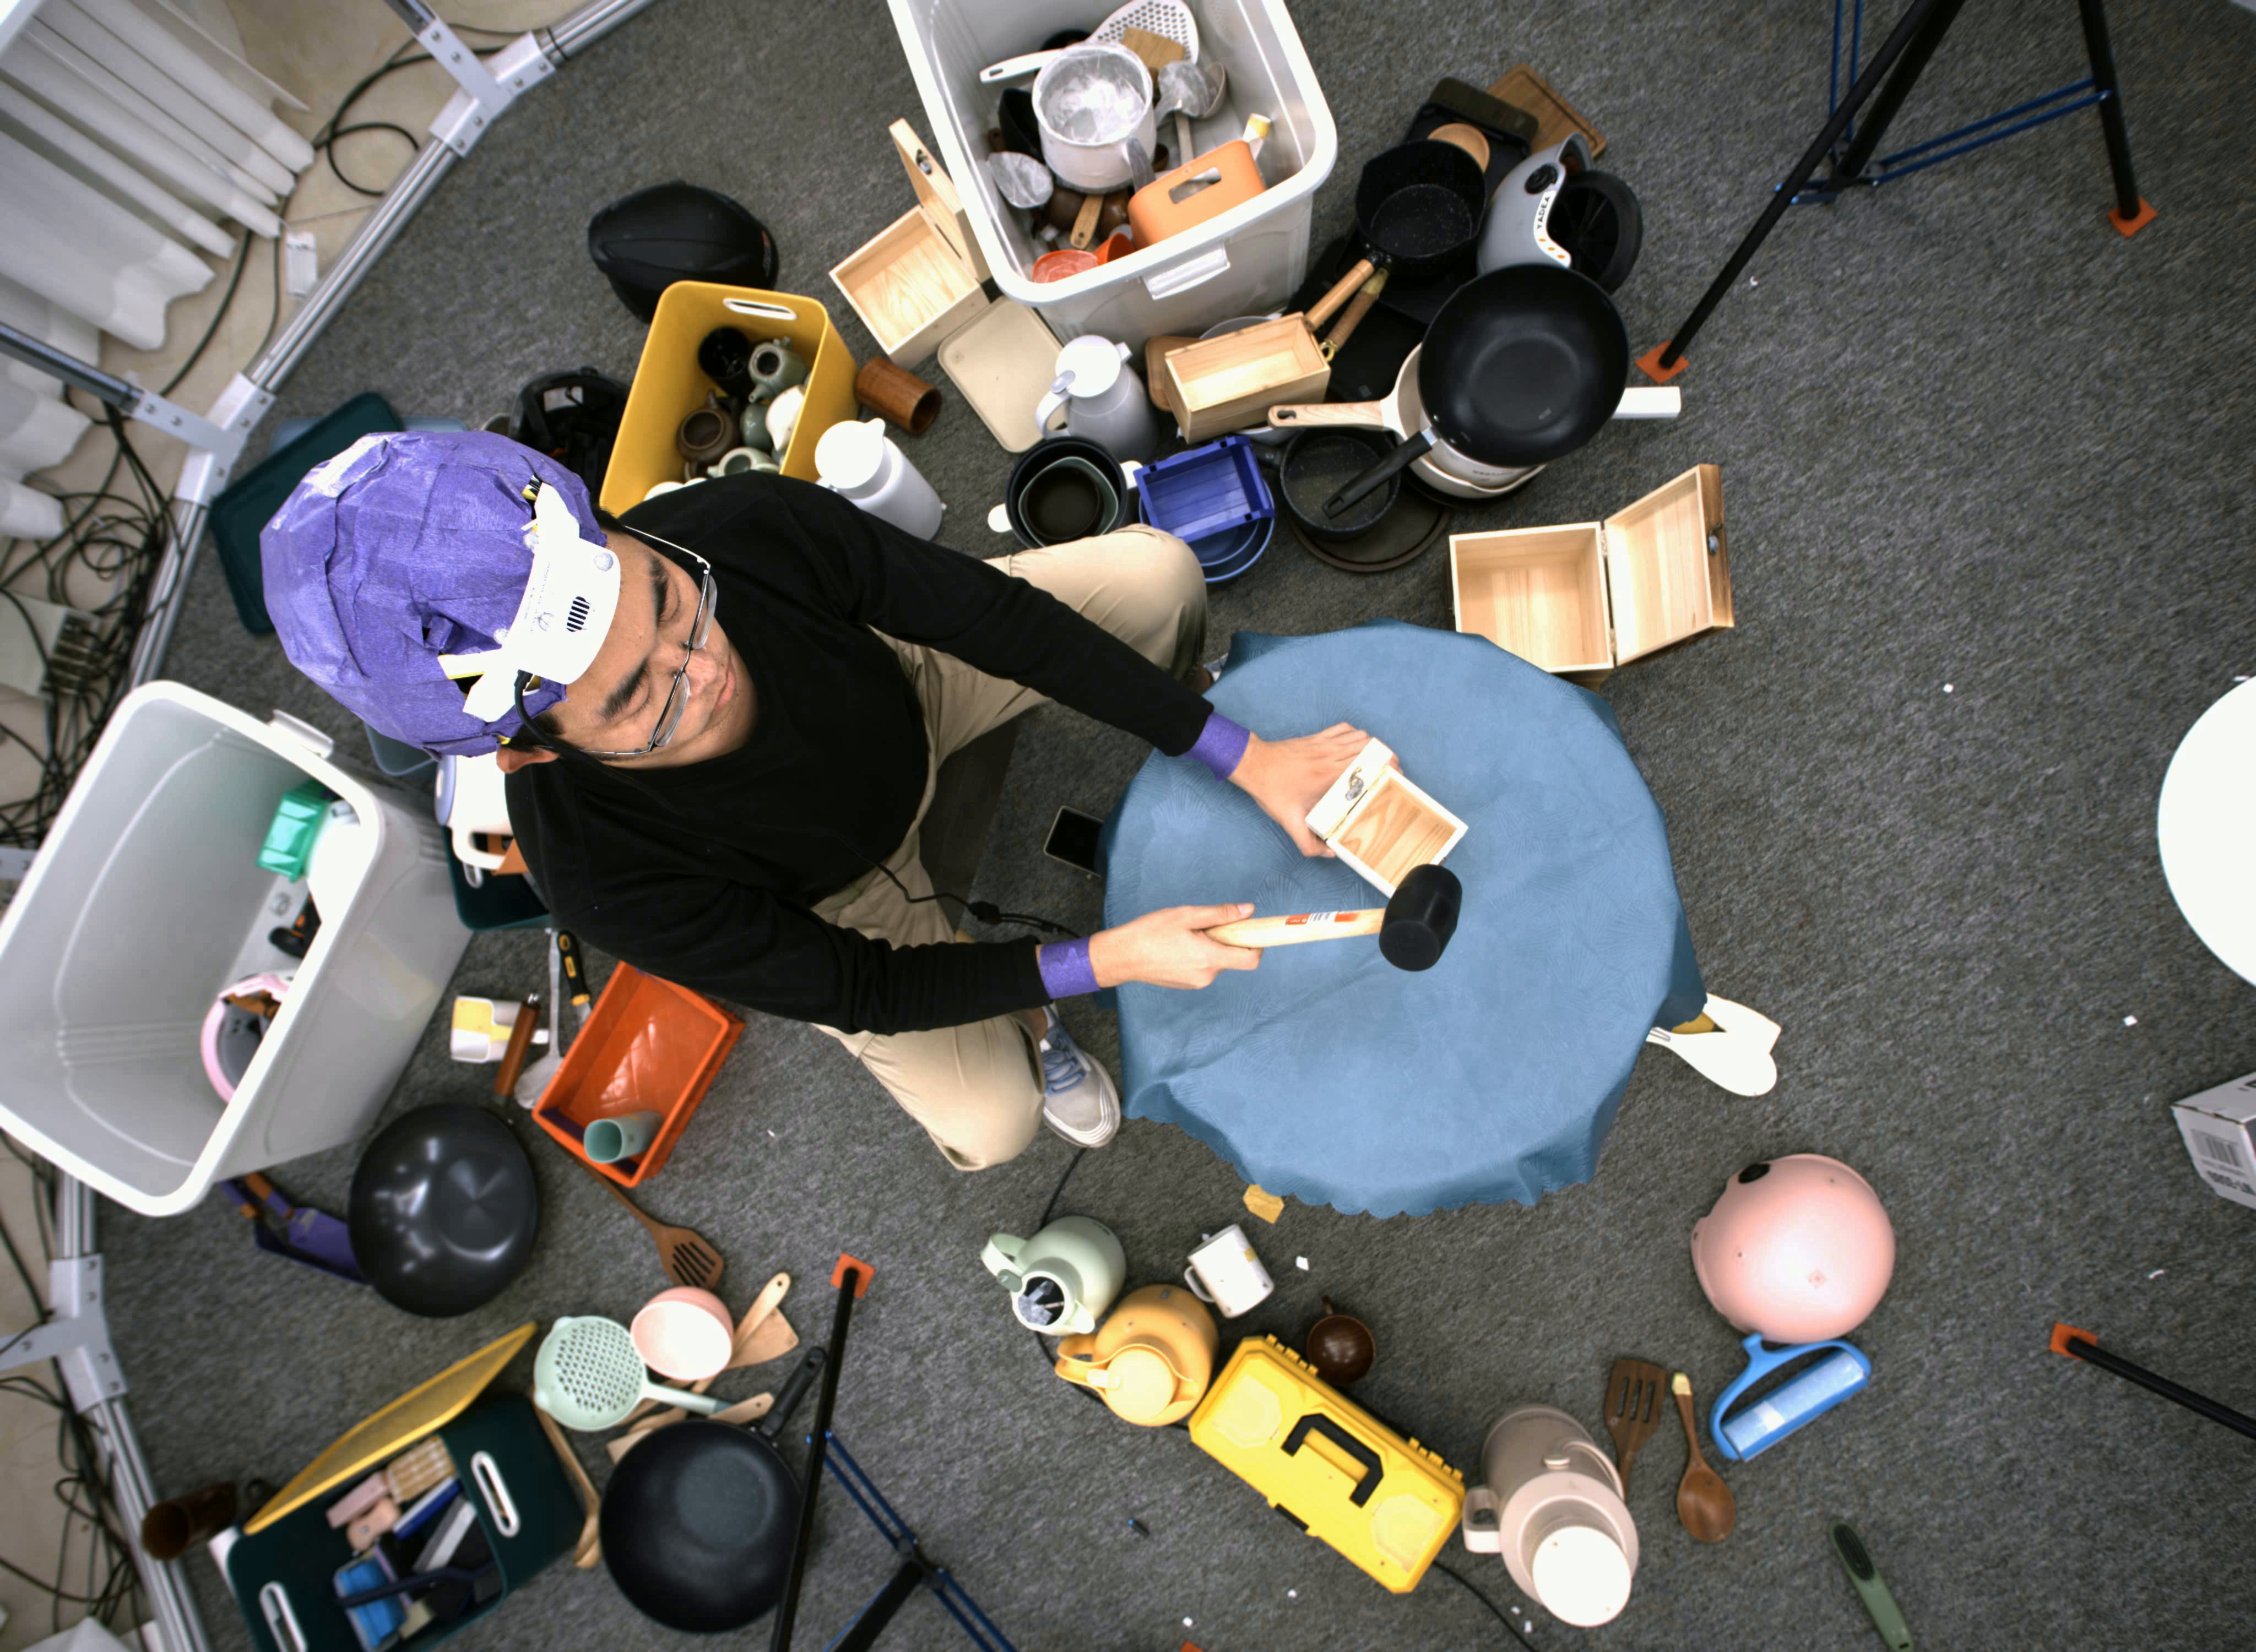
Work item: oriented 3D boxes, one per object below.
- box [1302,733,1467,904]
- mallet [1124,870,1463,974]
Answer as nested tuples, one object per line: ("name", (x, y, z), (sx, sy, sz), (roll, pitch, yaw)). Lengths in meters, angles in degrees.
("box", (0.260, -0.001, 1.376), (0.133, 0.185, 0.103), (40, 92, 14))
("mallet", (0.144, 0.093, 1.312), (0.342, 0.099, 0.065), (-4, 114, 31))
